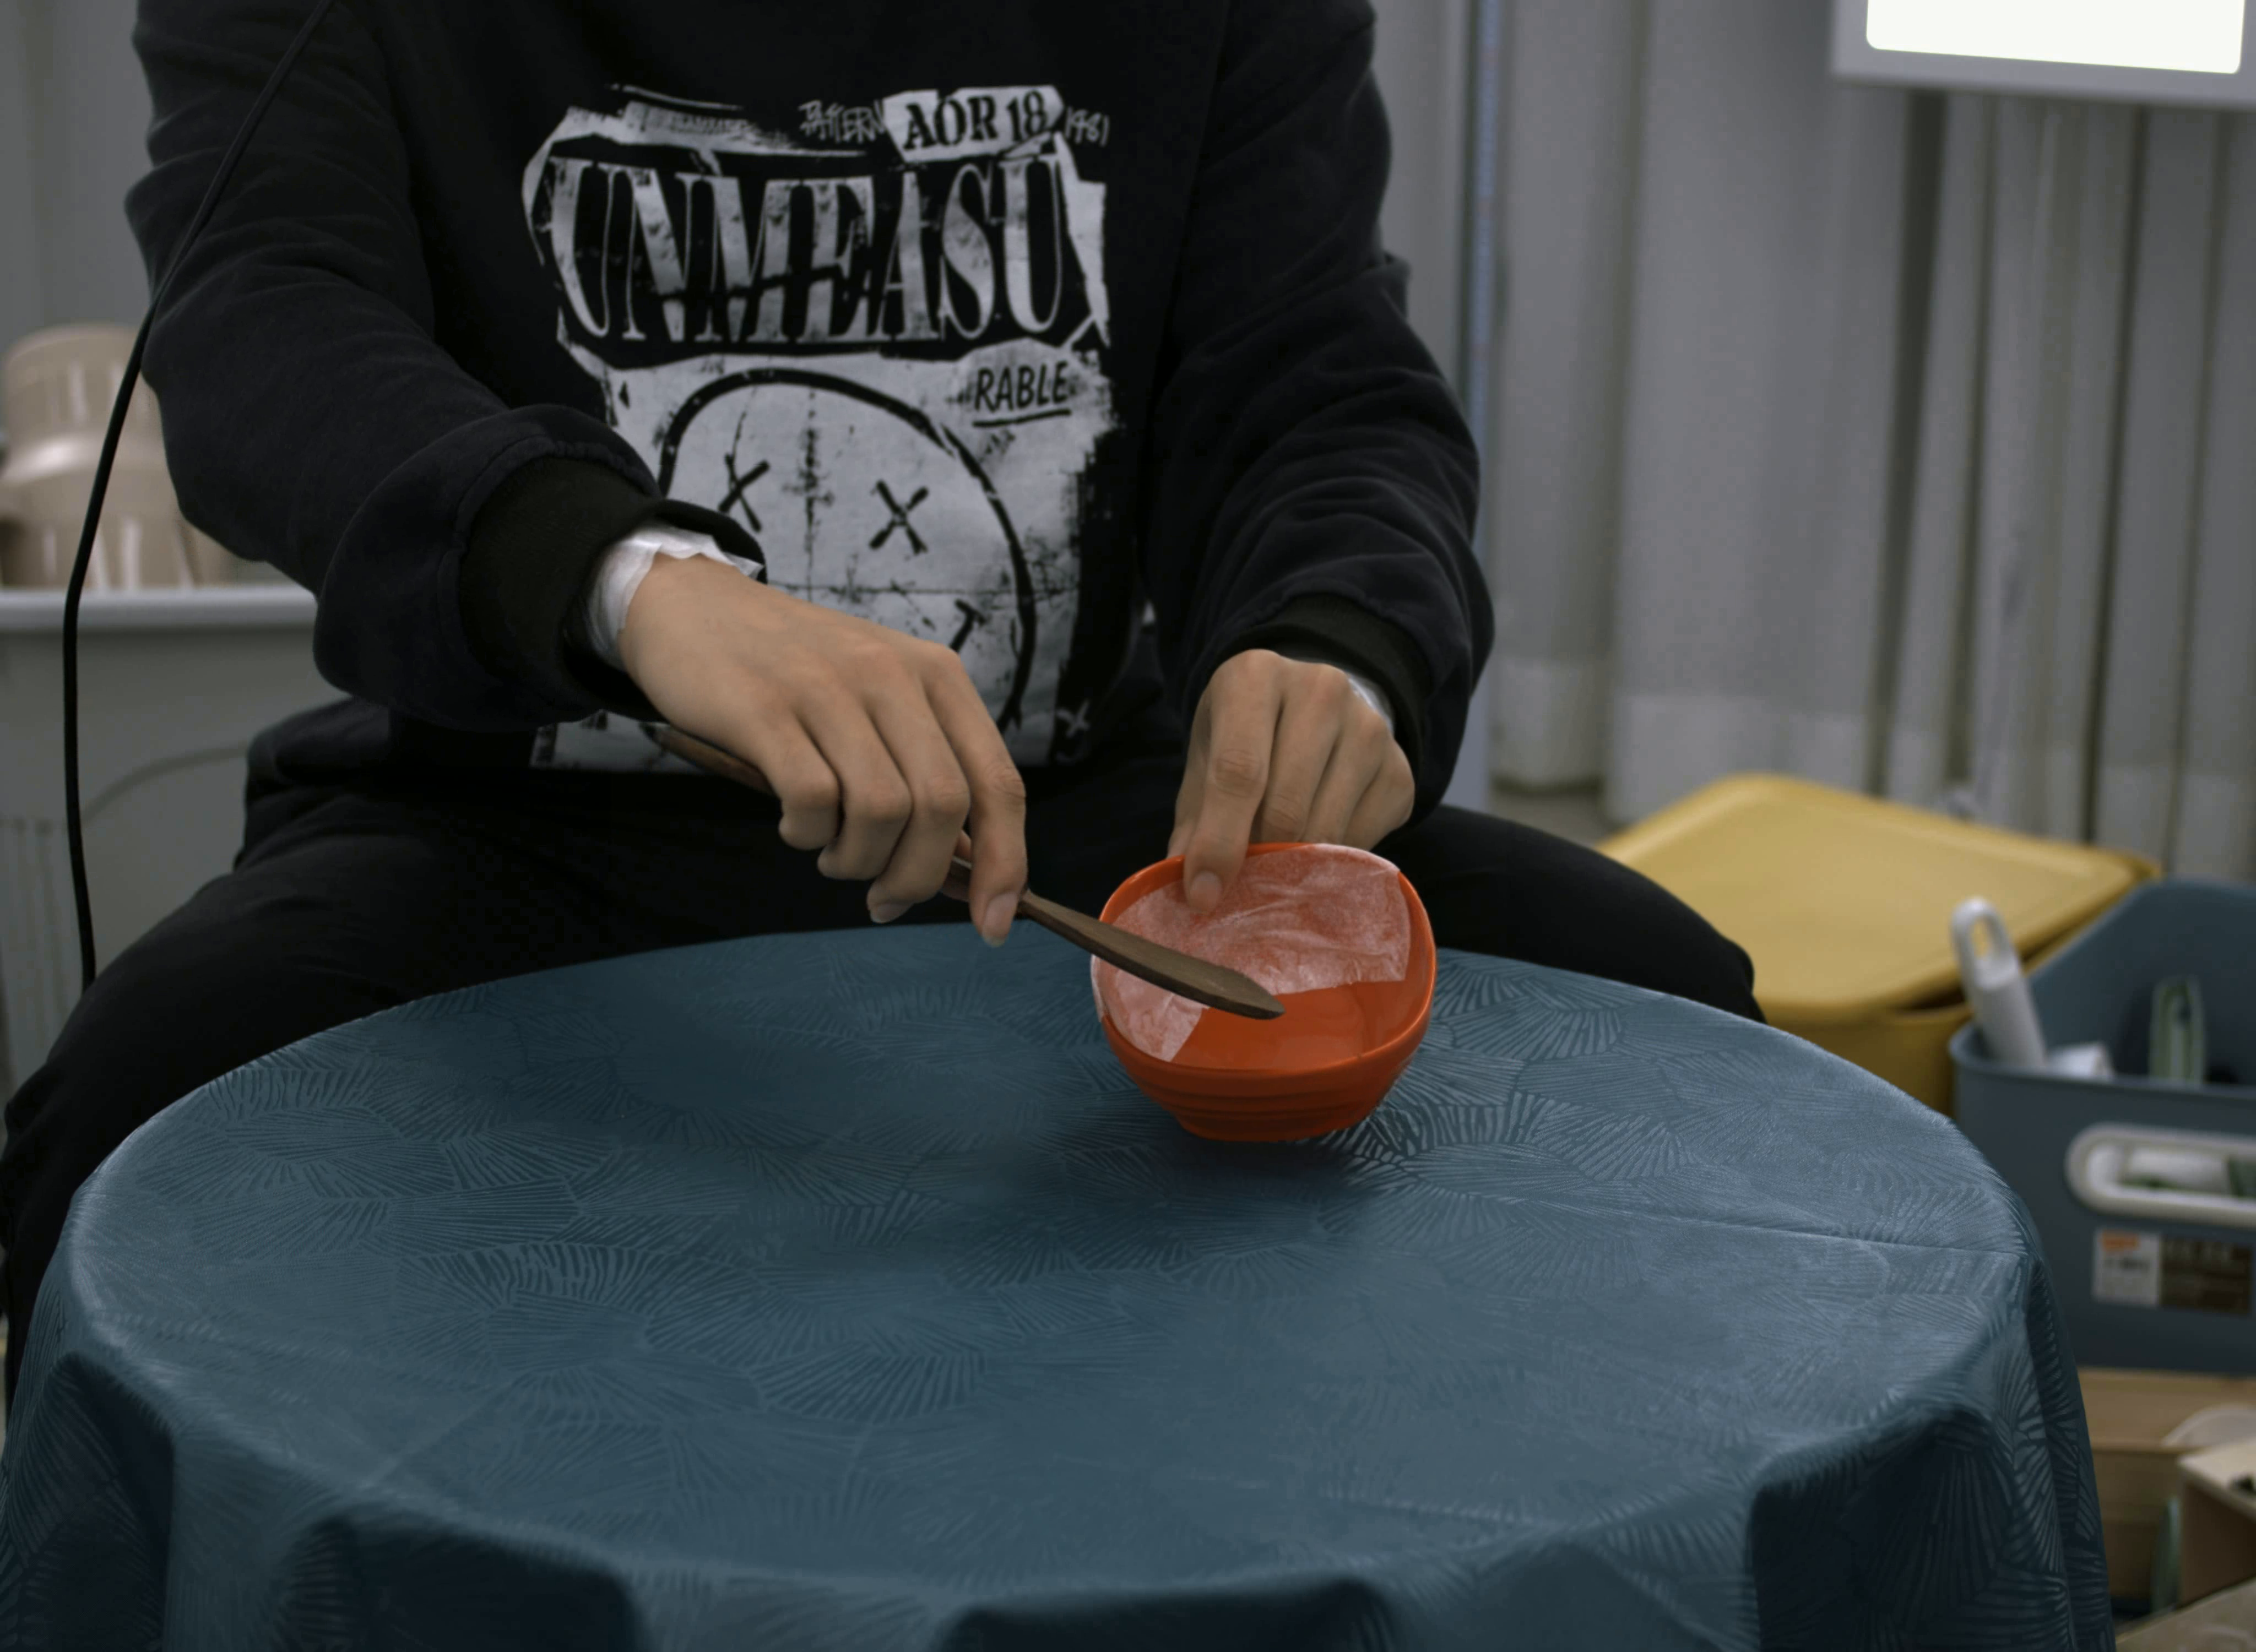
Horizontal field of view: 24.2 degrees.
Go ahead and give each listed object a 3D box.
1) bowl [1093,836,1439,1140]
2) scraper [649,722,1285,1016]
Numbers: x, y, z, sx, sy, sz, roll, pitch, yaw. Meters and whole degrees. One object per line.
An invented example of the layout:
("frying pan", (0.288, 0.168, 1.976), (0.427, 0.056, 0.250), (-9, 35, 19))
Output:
("bowl", (0.044, 0.059, 1.681), (0.118, 0.052, 0.118), (-1, 43, 1))
("scraper", (-0.050, 0.014, 1.607), (0.212, 0.011, 0.075), (24, 5, -15))
